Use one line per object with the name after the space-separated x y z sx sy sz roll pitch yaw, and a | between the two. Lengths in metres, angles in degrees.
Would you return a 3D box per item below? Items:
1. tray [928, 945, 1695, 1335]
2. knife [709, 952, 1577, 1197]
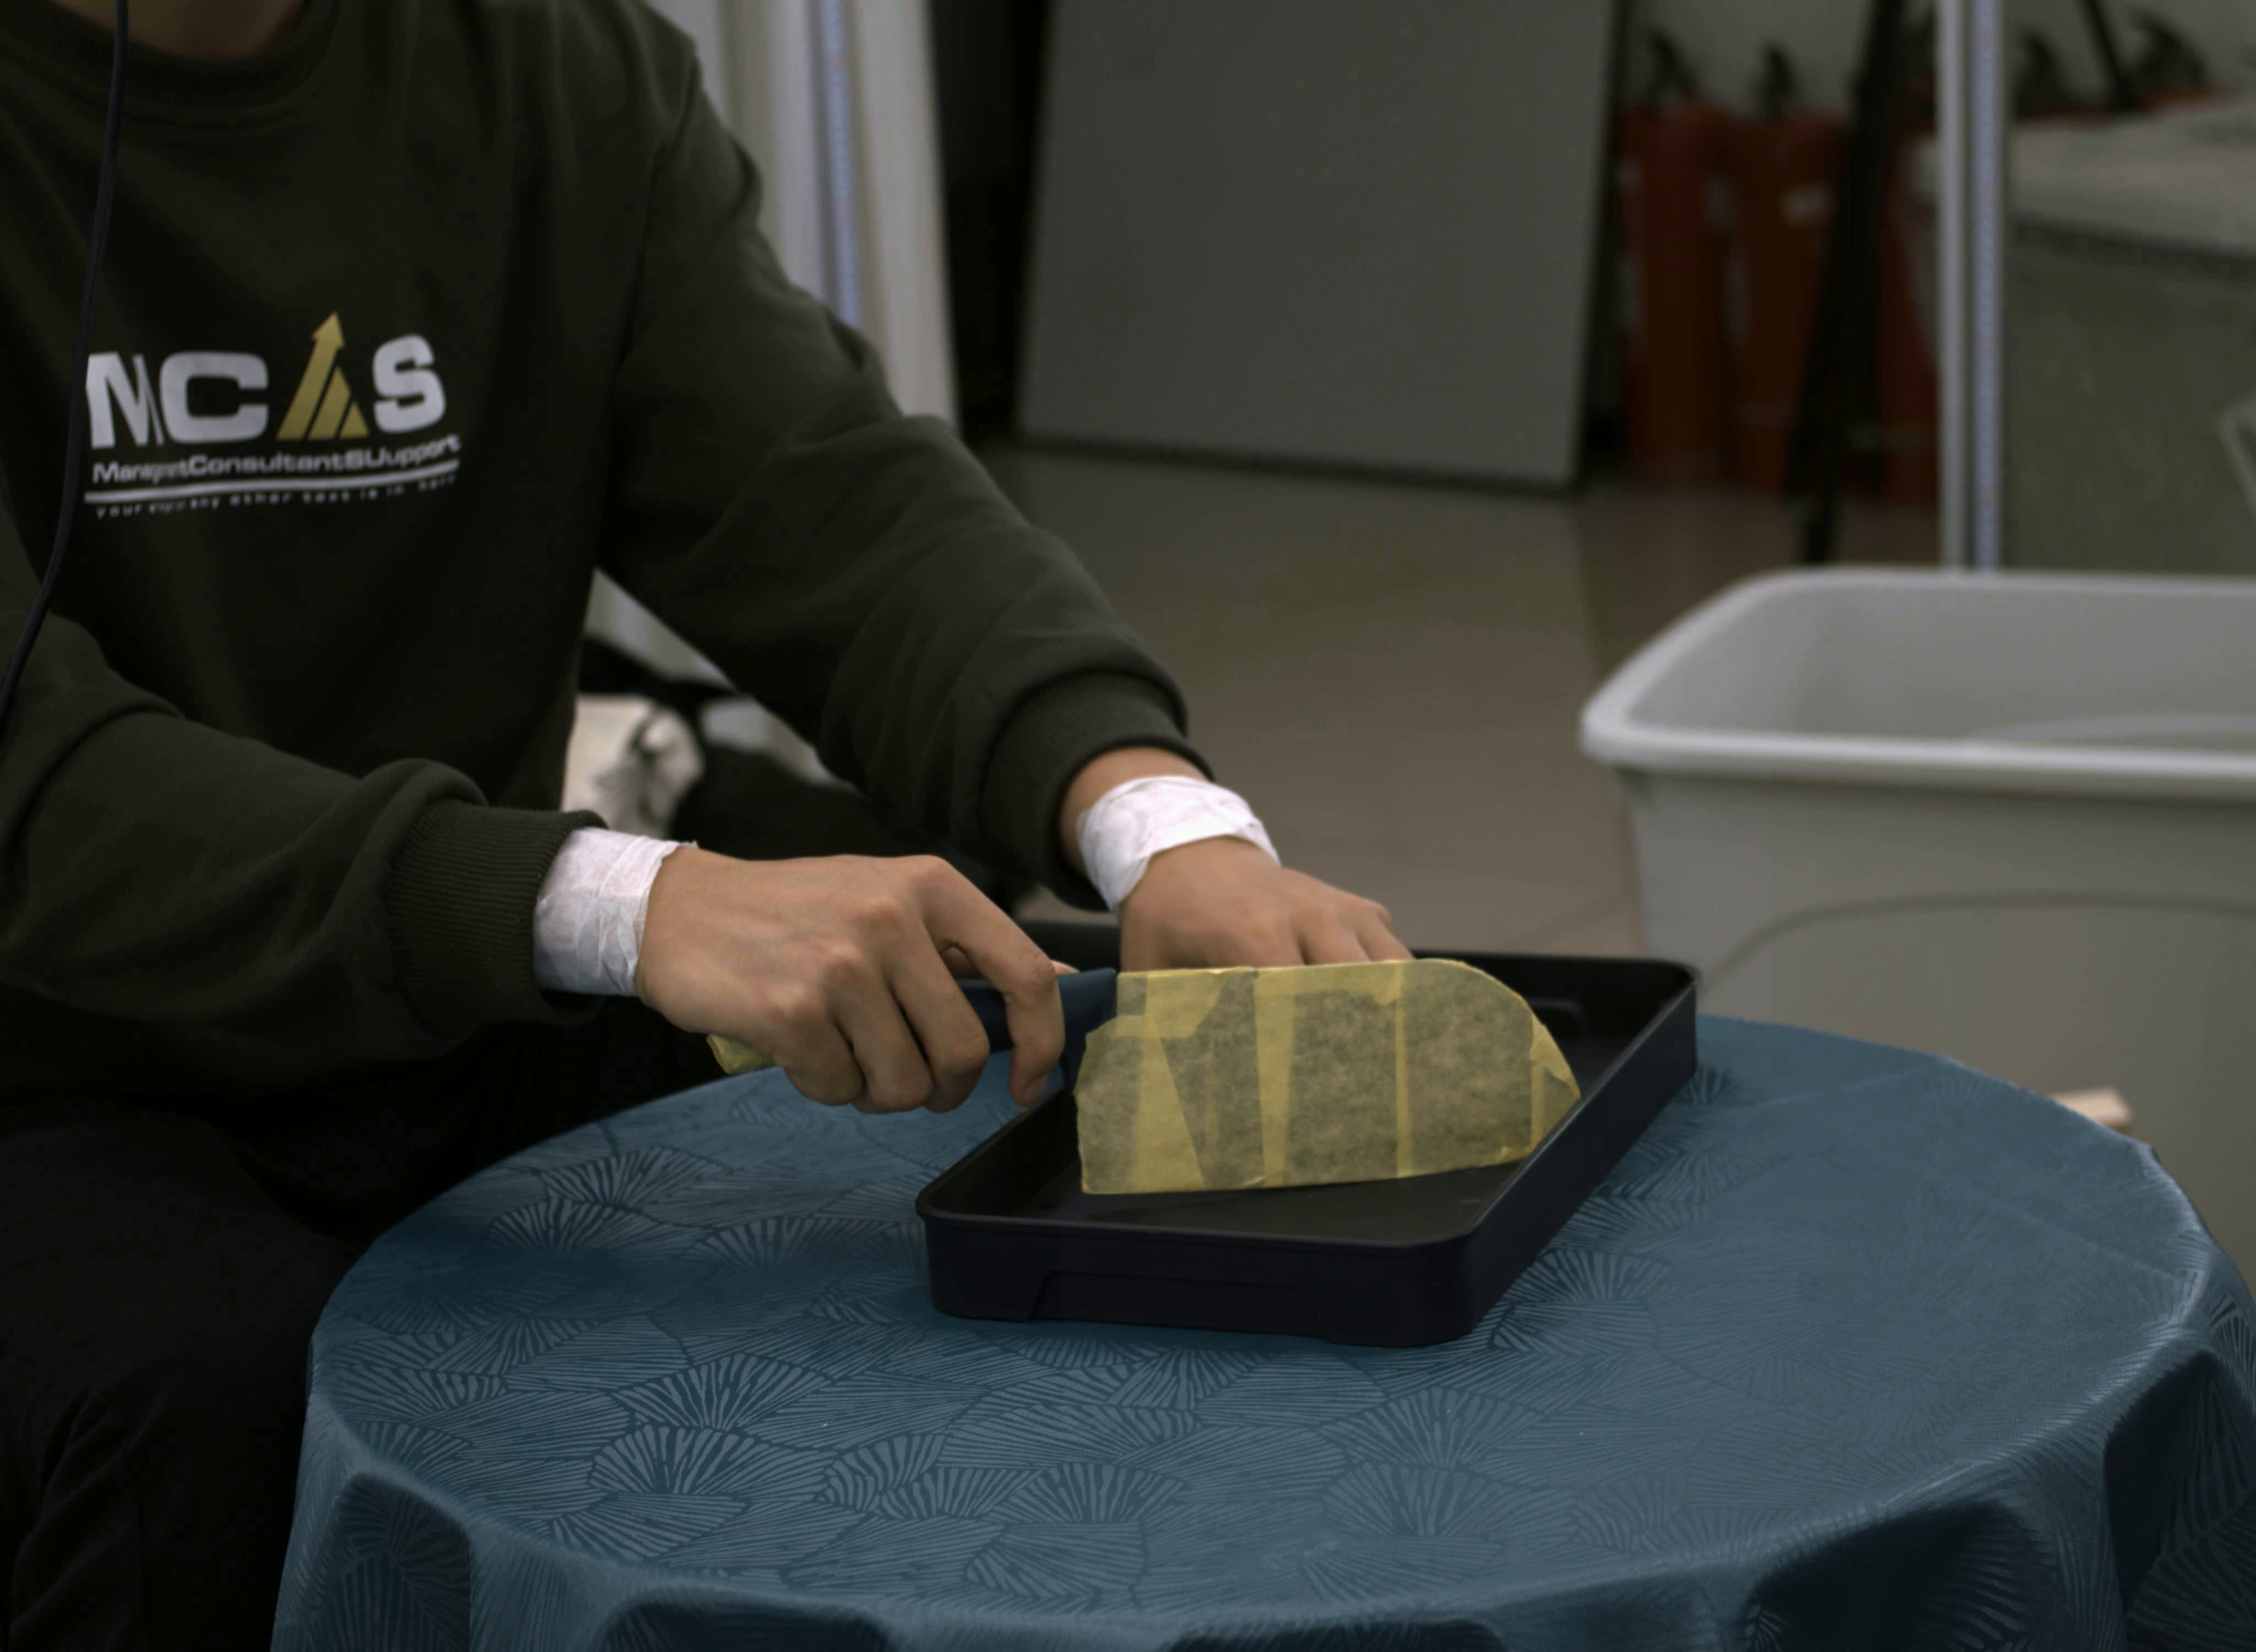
0.069 0.097 1.772 0.184 0.037 0.315 1 14 20 | tray
0.007 0.081 1.744 0.285 0.082 0.027 0 0 -6 | knife
